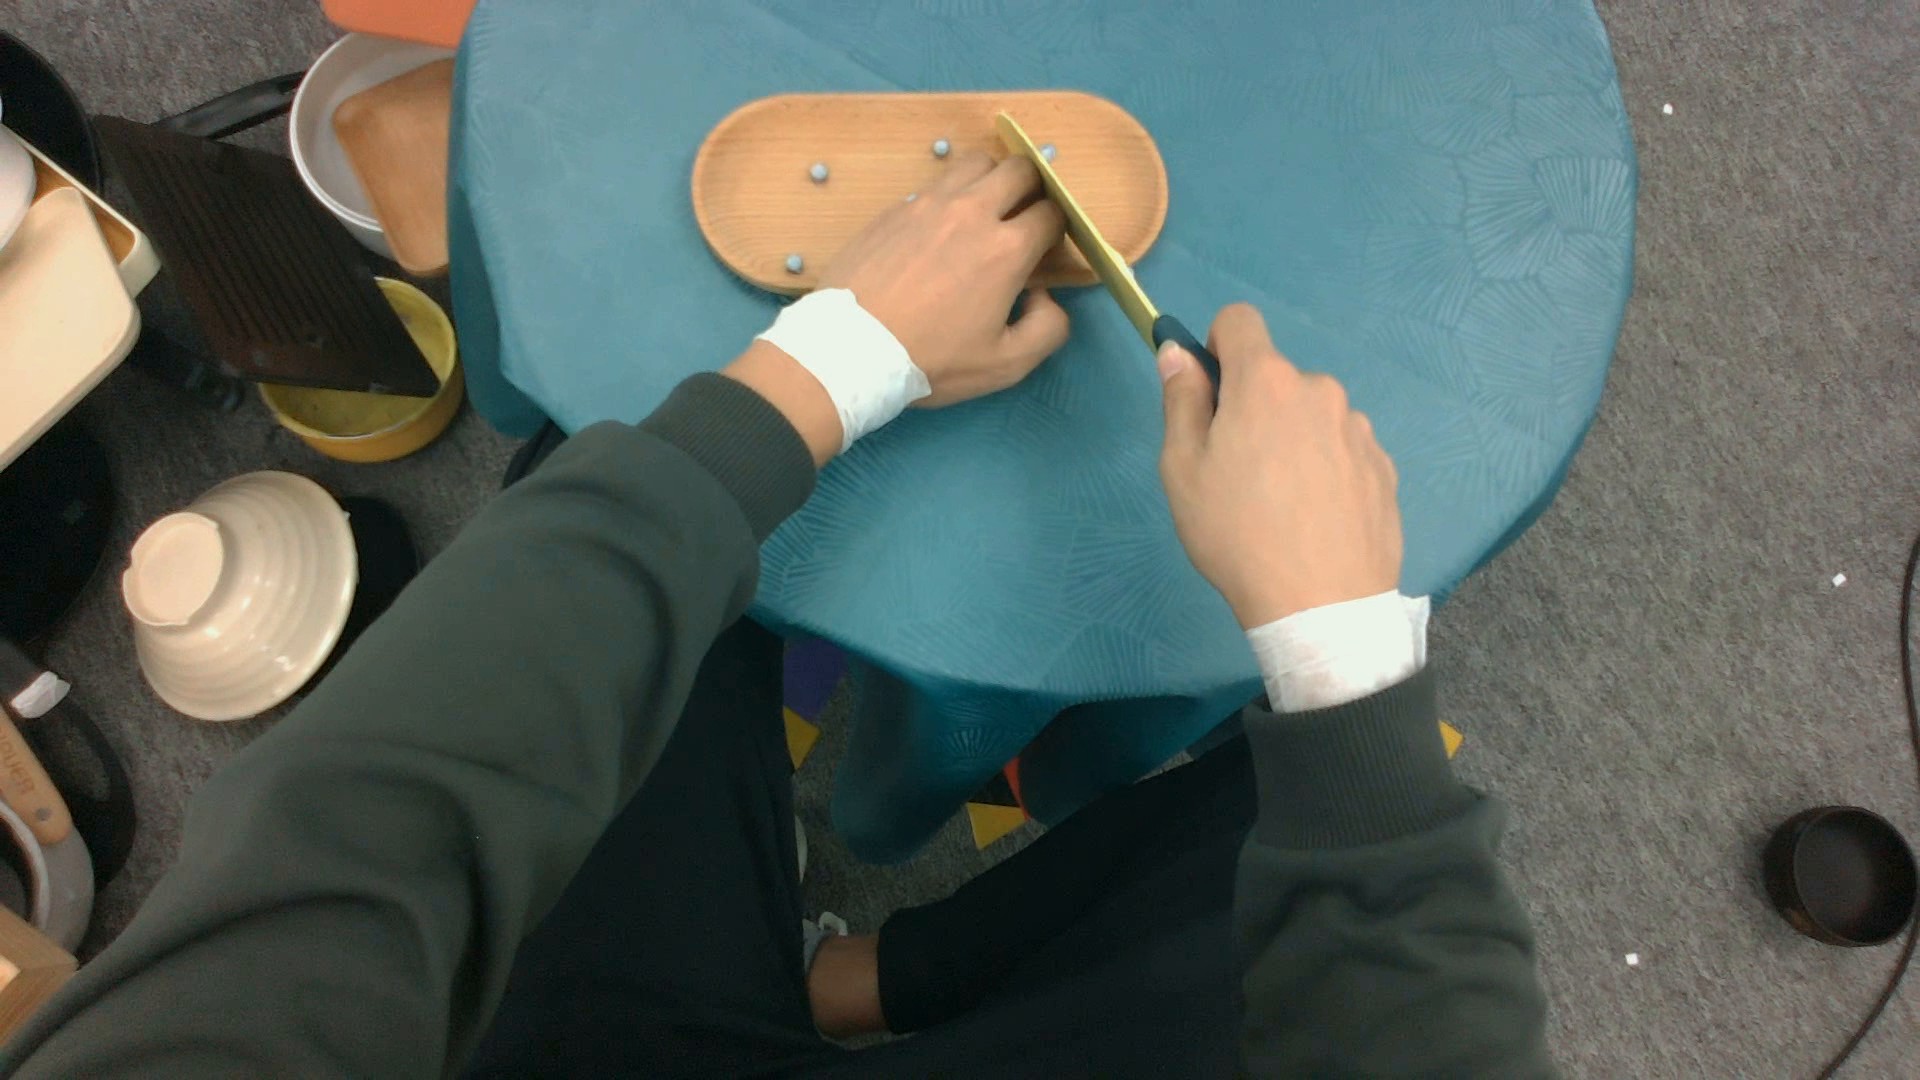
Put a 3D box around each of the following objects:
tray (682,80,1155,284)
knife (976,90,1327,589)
[{"bbox_3d":[-0.018,-0.175,0.672,0.231,0.020,0.102,-4,78,-10],"label":"tray"},{"bbox_3d":[0.076,-0.097,0.610,0.027,0.081,0.290,-32,68,6],"label":"knife"}]
